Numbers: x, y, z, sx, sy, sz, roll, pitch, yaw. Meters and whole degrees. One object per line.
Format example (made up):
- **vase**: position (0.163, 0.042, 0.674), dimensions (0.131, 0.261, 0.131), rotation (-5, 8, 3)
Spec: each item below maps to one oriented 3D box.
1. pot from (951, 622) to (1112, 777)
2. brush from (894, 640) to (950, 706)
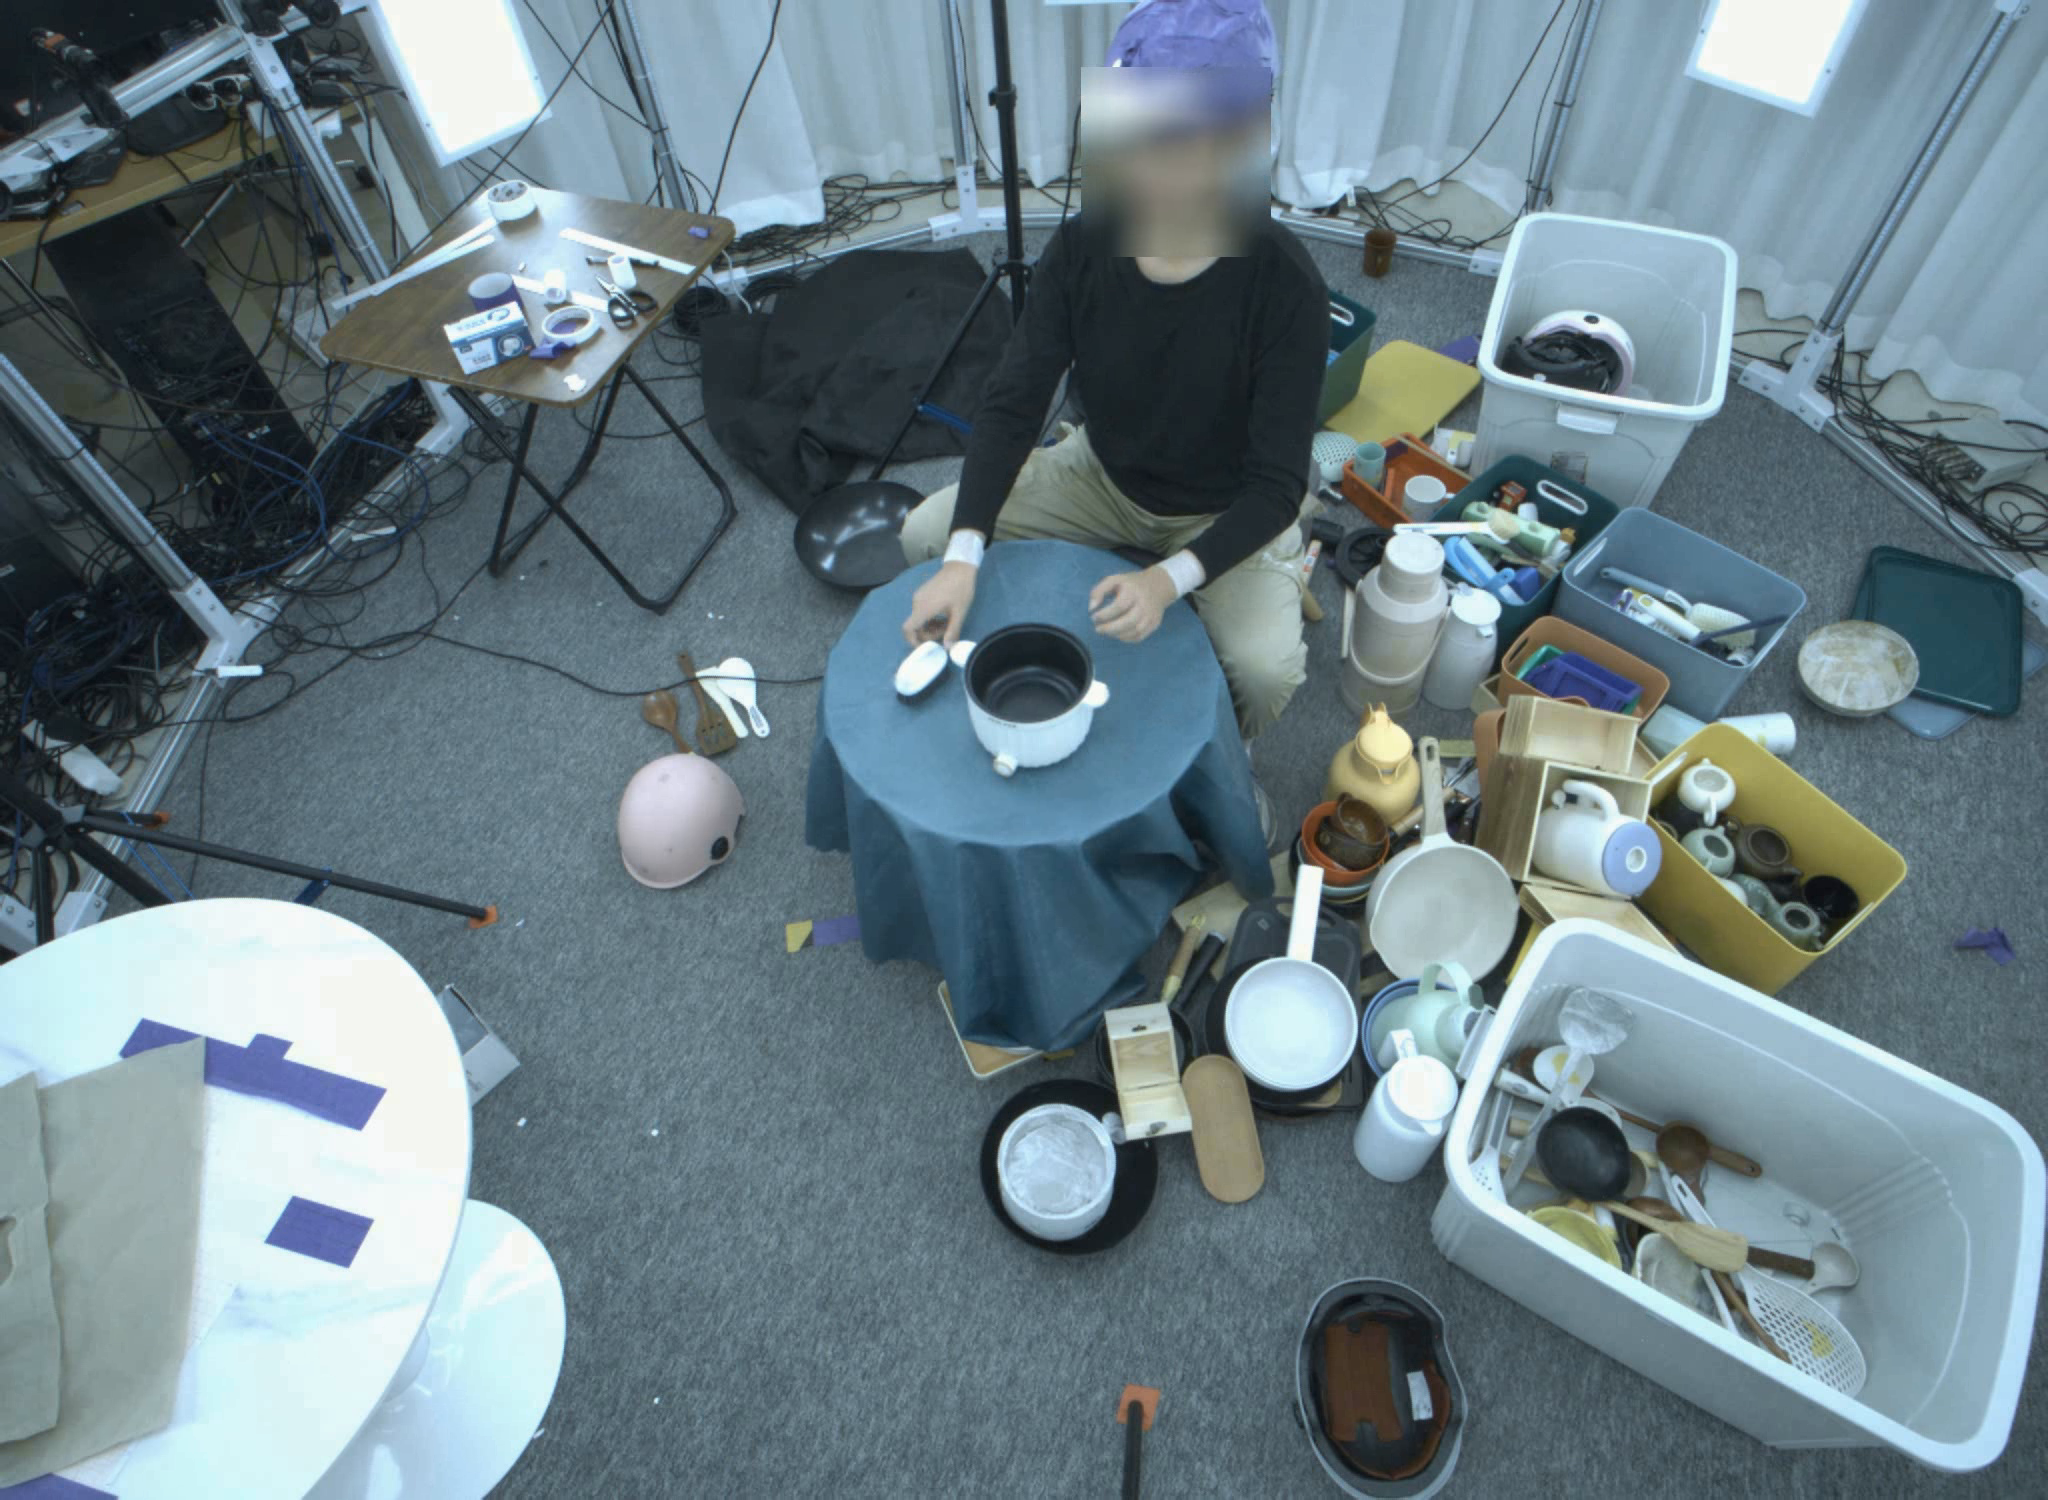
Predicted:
- **pot**: position (0.010, -0.067, 1.750), dimensions (0.237, 0.144, 0.190), rotation (17, 55, 16)
- **brush**: position (-0.155, -0.123, 1.835), dimensions (0.049, 0.073, 0.100), rotation (32, 62, 22)
